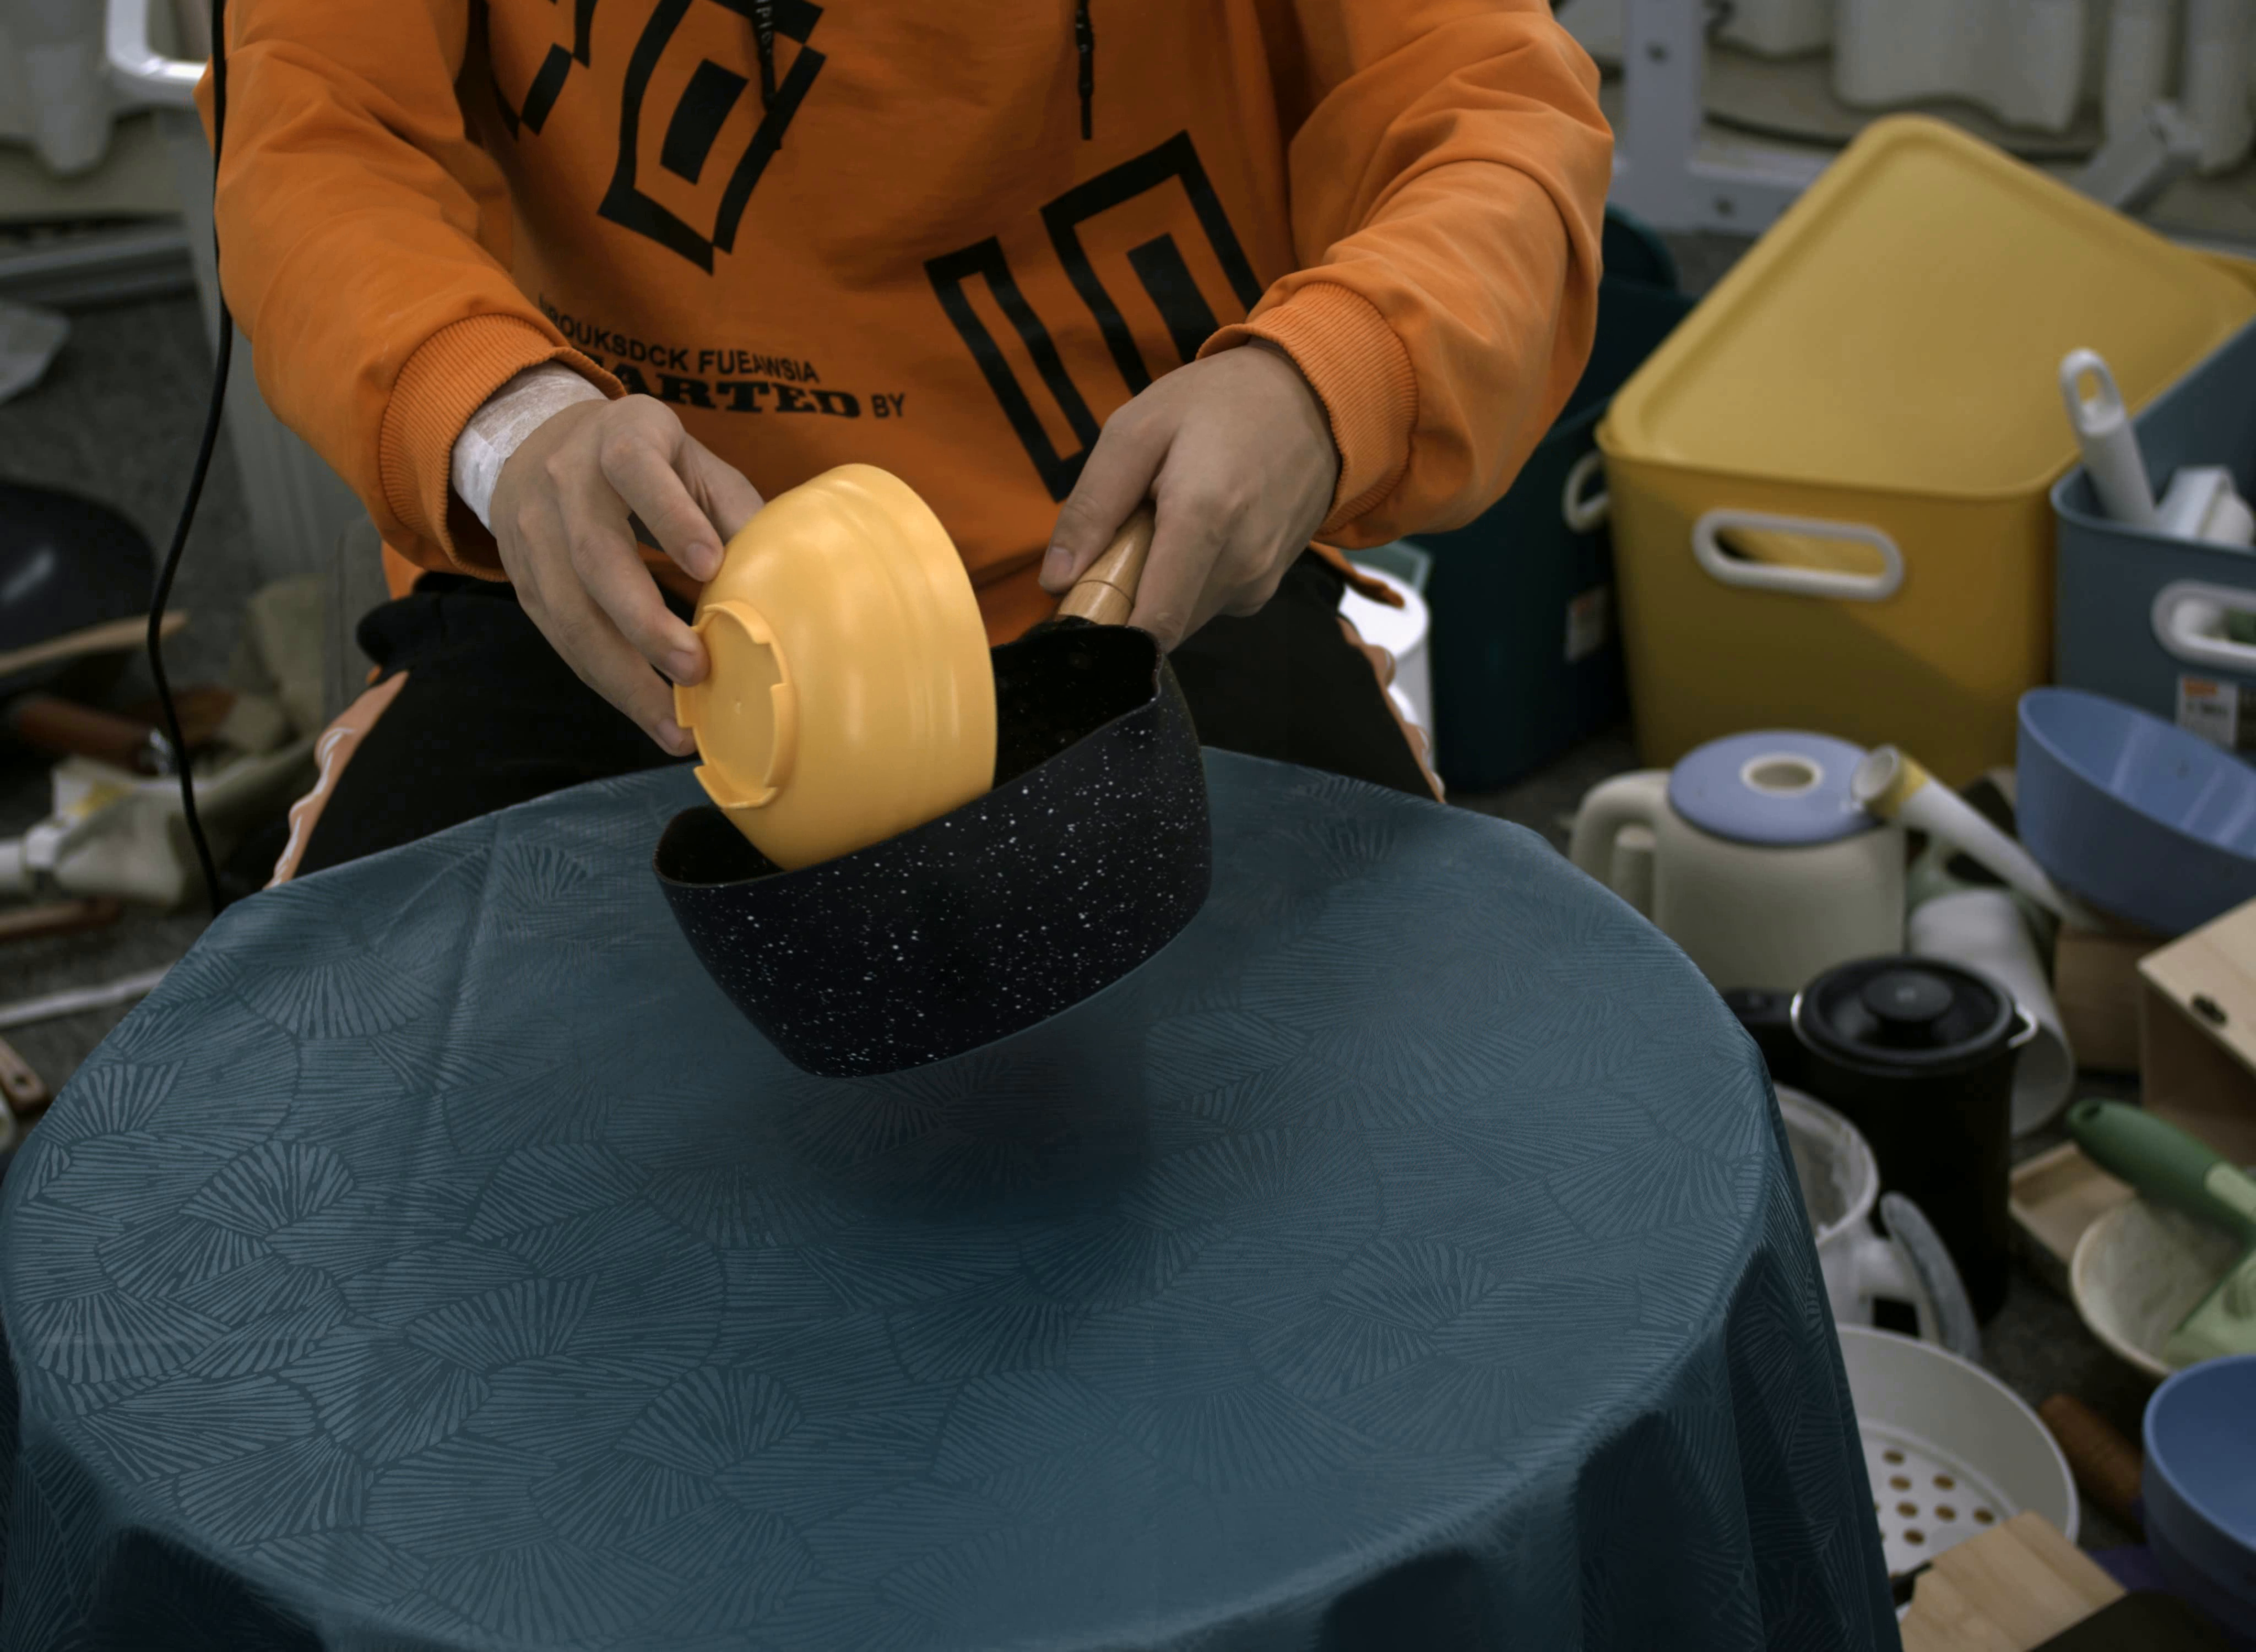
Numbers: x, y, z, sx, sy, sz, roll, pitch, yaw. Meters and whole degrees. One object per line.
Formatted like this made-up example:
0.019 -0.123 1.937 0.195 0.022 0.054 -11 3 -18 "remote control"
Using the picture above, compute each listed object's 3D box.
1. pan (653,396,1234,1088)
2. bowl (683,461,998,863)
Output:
-0.028 -0.032 1.923 0.205 0.108 0.349 -15 19 32 "pan"
-0.102 -0.042 1.814 0.060 0.144 0.146 -12 28 -30 "bowl"
